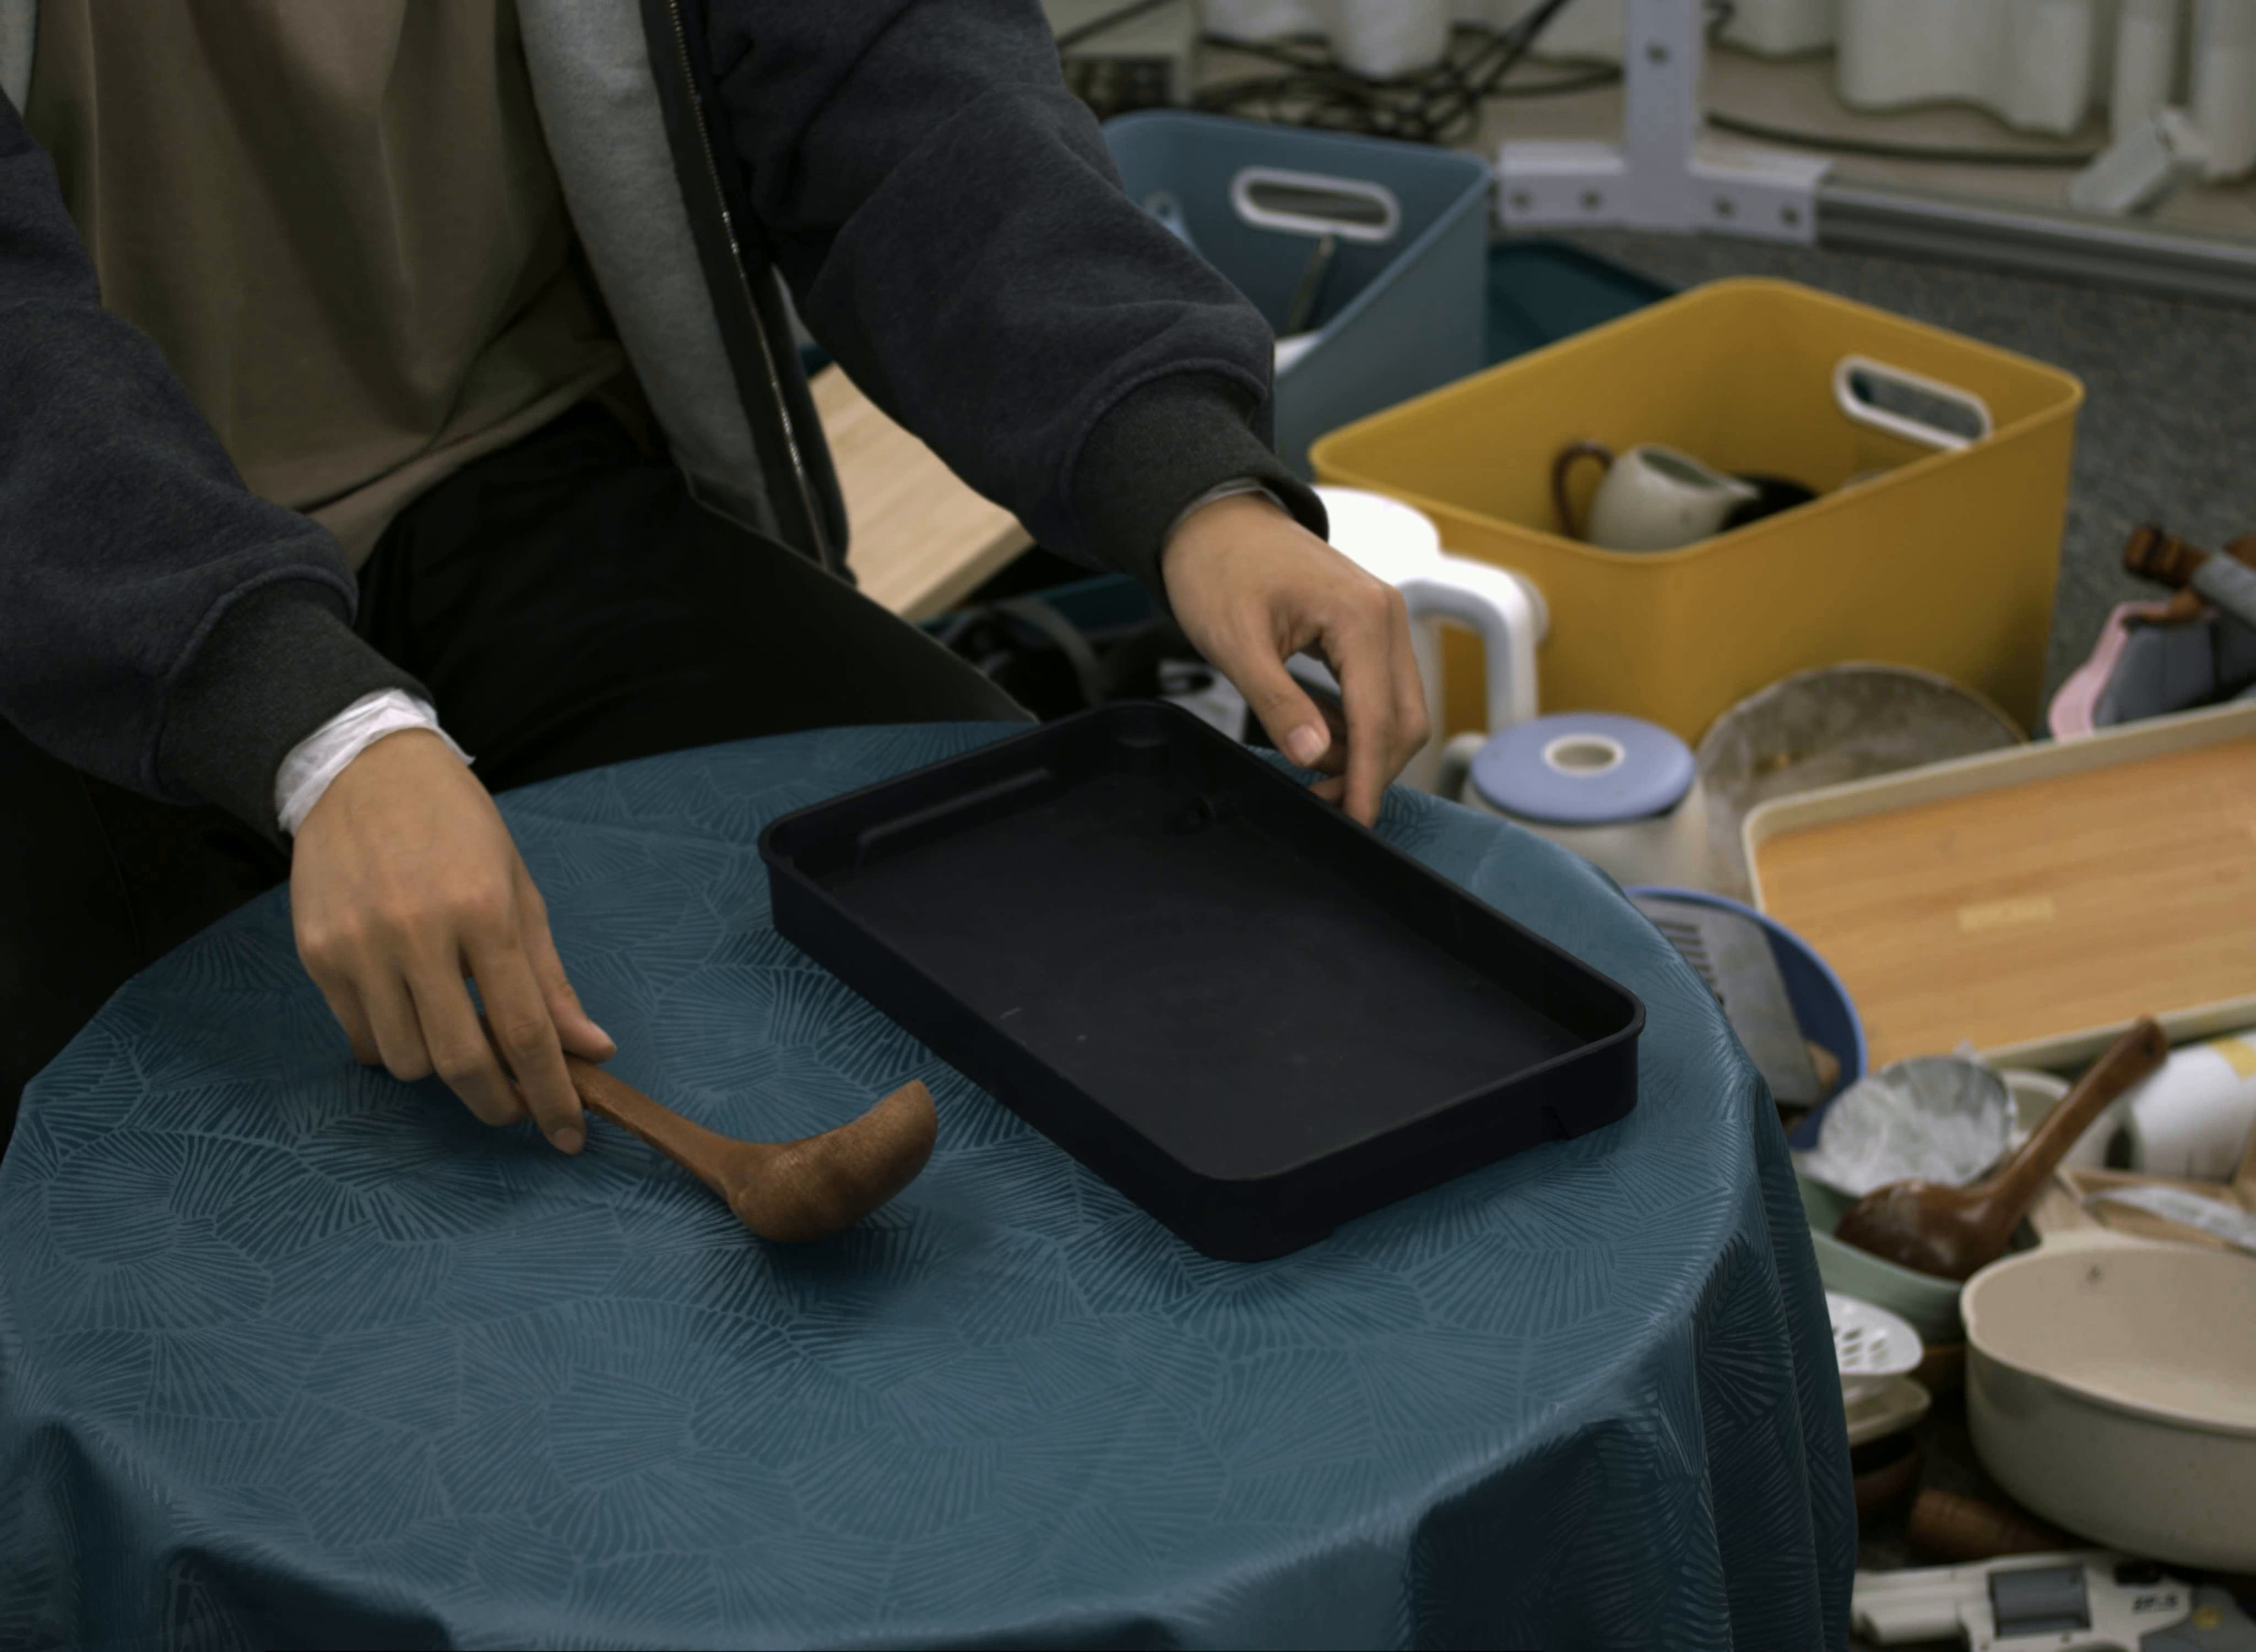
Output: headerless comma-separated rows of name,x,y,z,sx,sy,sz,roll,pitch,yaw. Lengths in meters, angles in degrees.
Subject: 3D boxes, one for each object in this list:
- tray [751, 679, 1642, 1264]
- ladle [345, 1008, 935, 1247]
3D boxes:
tray,0.019,0.044,1.964,0.186,0.036,0.319,-19,33,-28
ladle,-0.171,0.085,1.882,0.259,0.064,0.077,19,34,35
